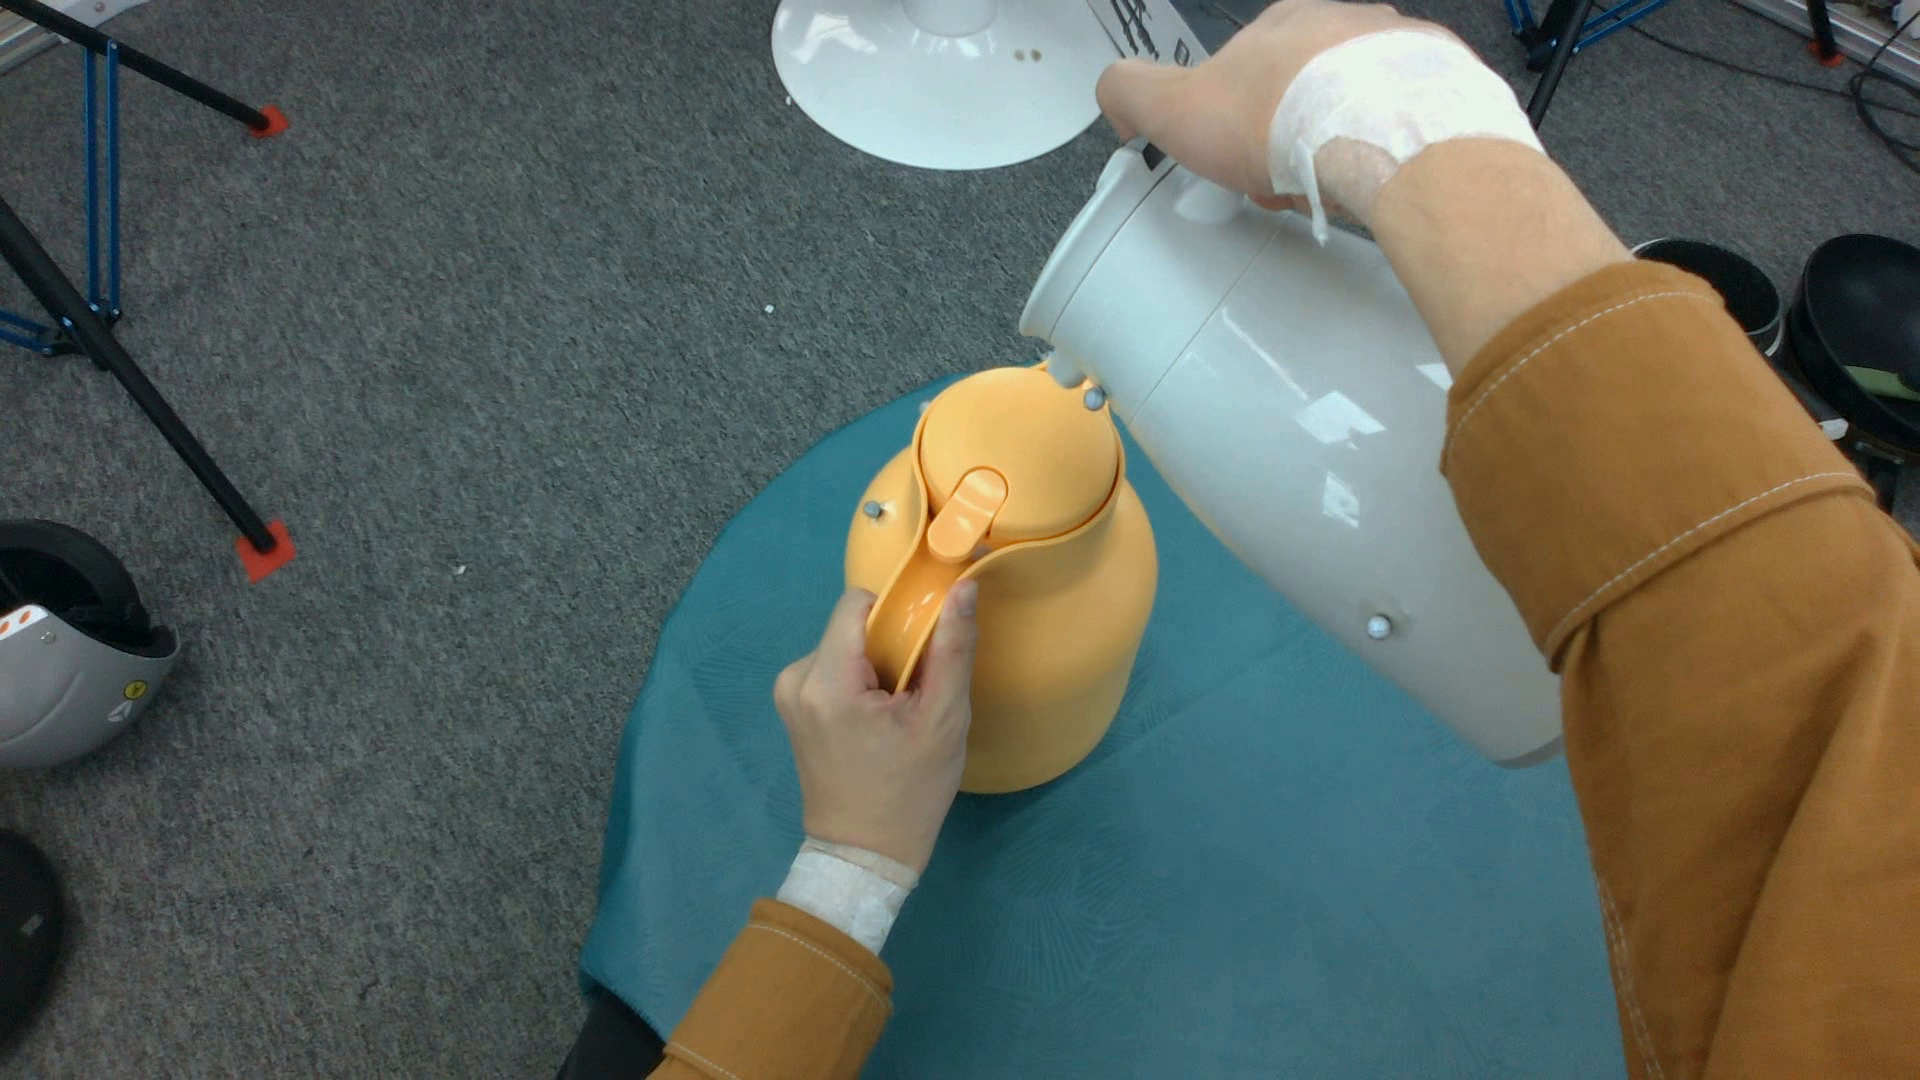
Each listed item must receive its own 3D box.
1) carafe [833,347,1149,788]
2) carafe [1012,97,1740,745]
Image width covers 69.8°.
[{"bbox_3d":[0.003,0.028,0.708,0.163,0.259,0.203,31,61,15],"label":"carafe"},{"bbox_3d":[0.147,-0.060,0.505,0.248,0.167,0.133,37,49,4],"label":"carafe"}]
